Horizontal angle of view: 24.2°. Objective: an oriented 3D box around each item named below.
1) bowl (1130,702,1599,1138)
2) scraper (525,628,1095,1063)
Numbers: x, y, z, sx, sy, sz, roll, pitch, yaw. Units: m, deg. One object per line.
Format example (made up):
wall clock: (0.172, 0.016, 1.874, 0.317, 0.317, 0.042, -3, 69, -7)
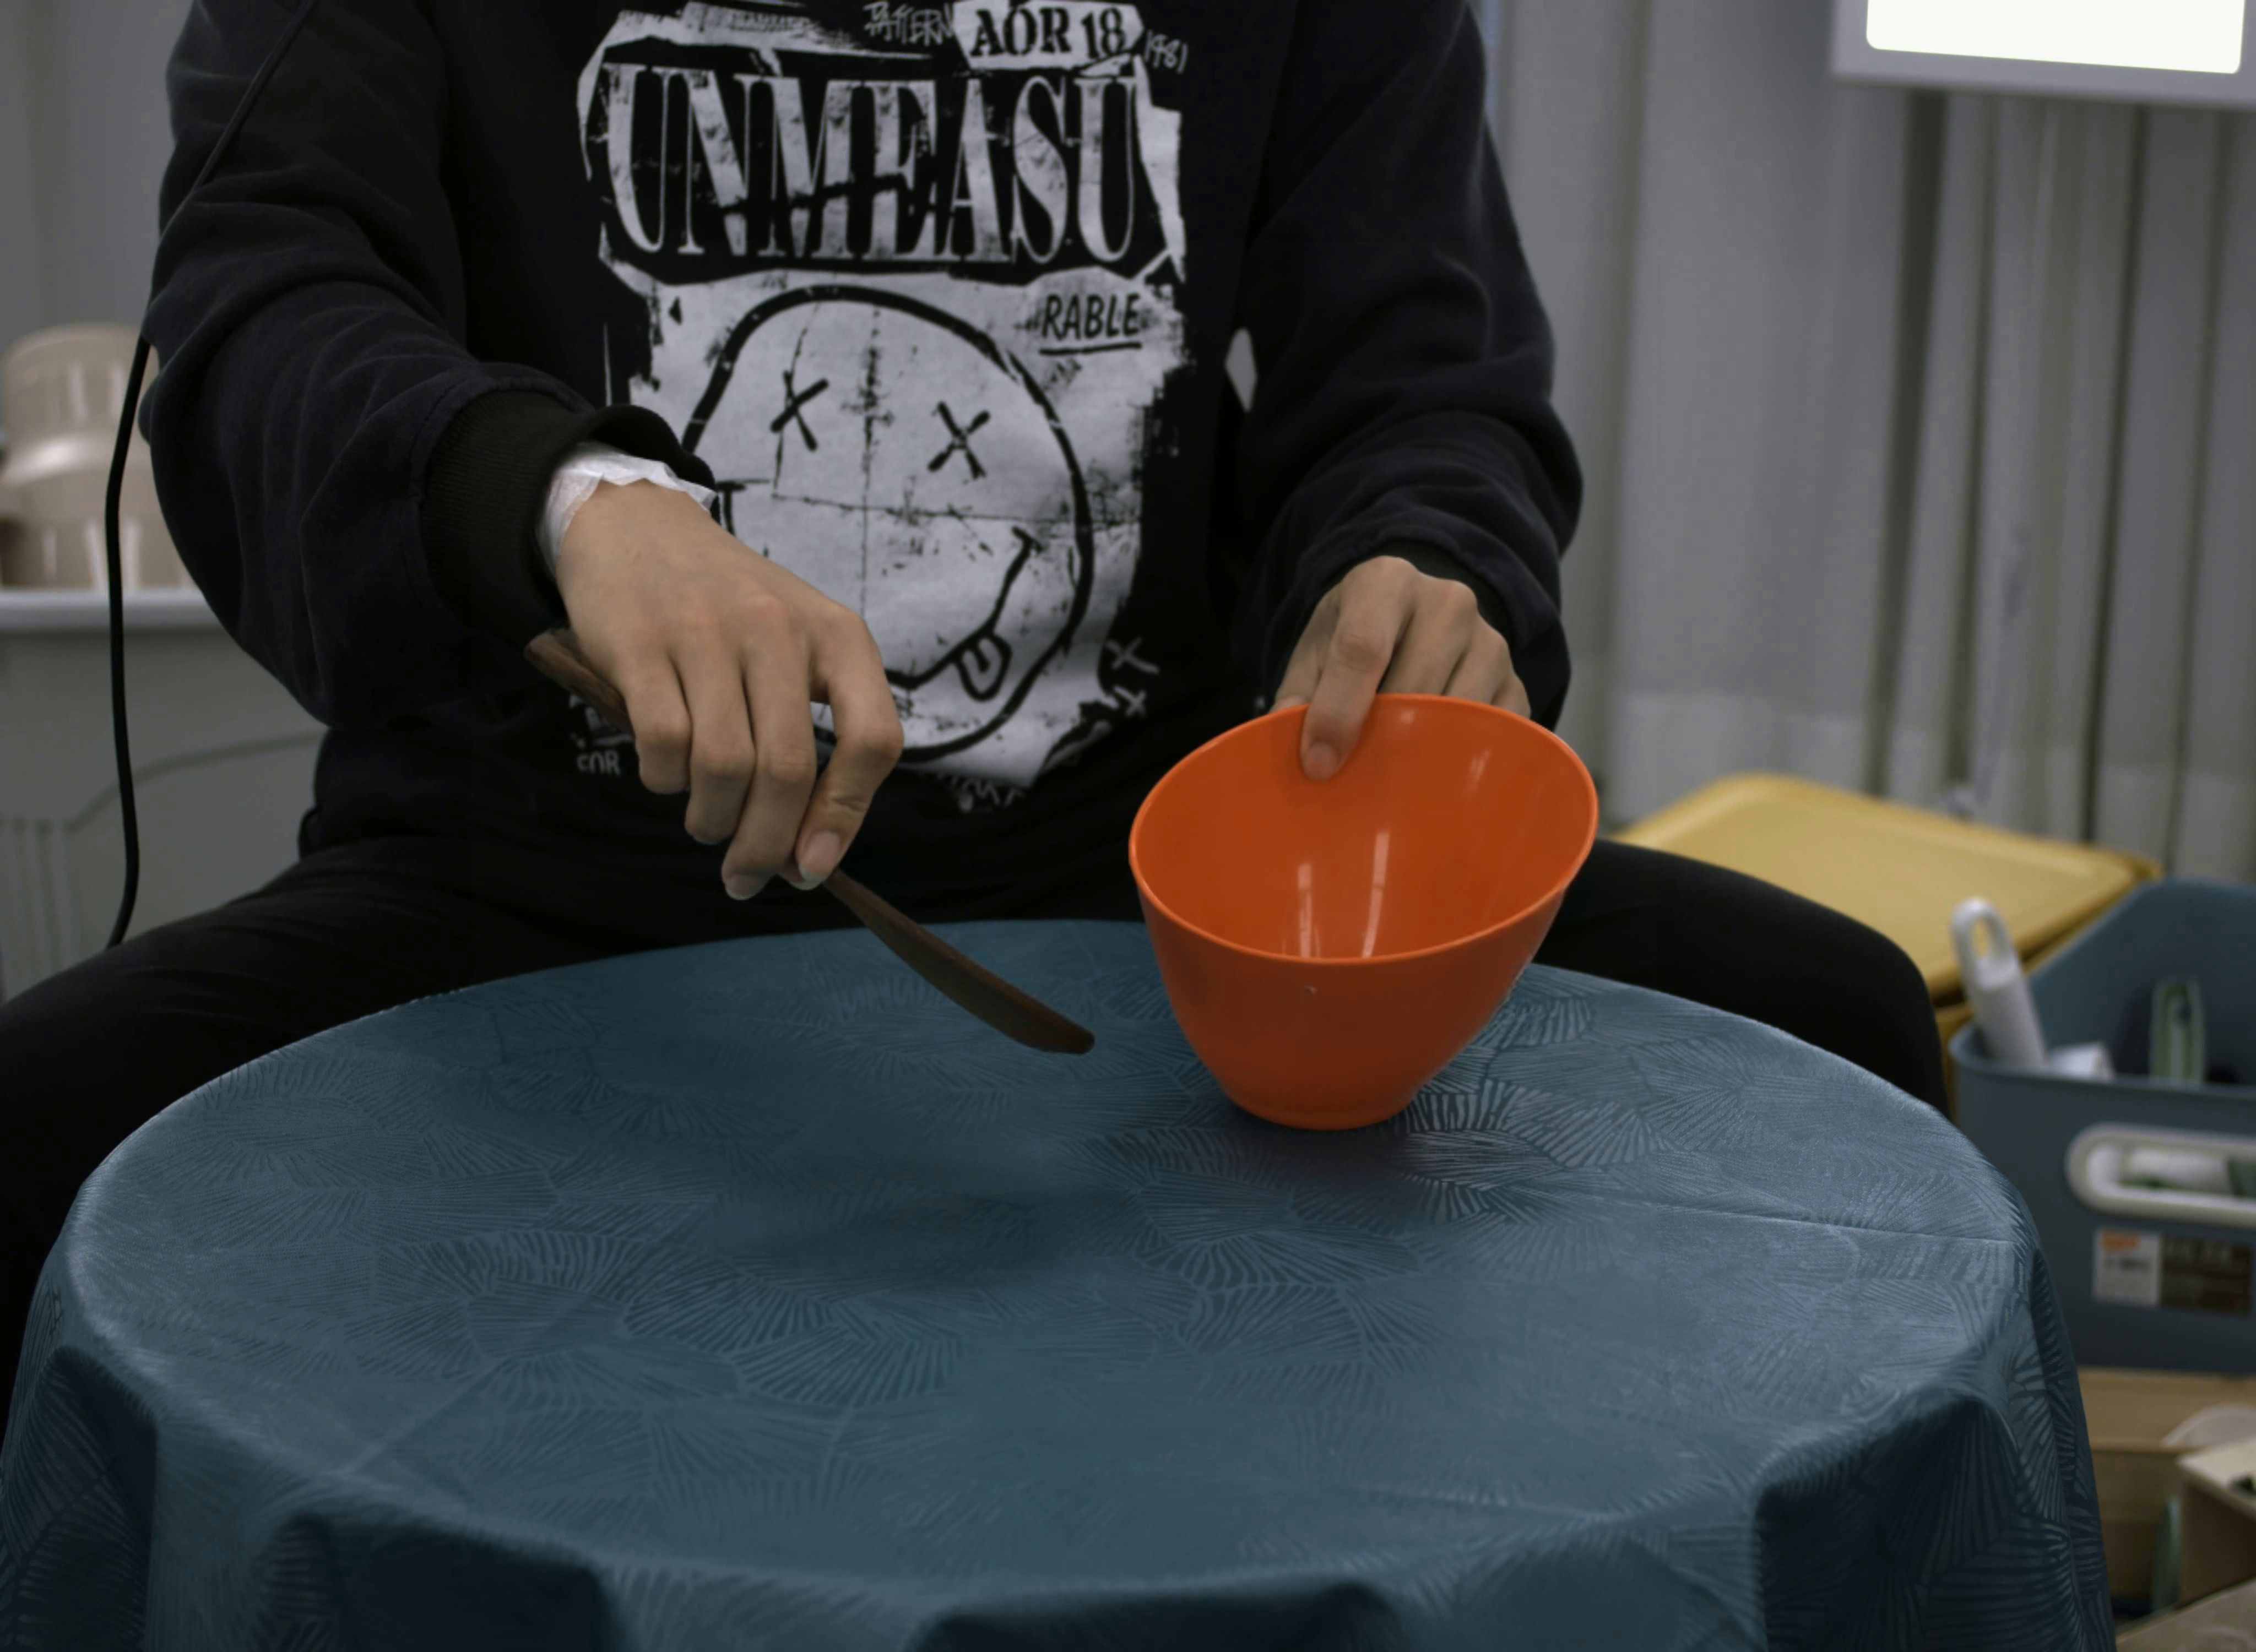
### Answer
bowl: (0.073, 0.037, 1.683, 0.147, 0.106, 0.147, 3, 31, -1)
scraper: (-0.098, 0.007, 1.589, 0.211, 0.011, 0.076, 38, -13, -3)
